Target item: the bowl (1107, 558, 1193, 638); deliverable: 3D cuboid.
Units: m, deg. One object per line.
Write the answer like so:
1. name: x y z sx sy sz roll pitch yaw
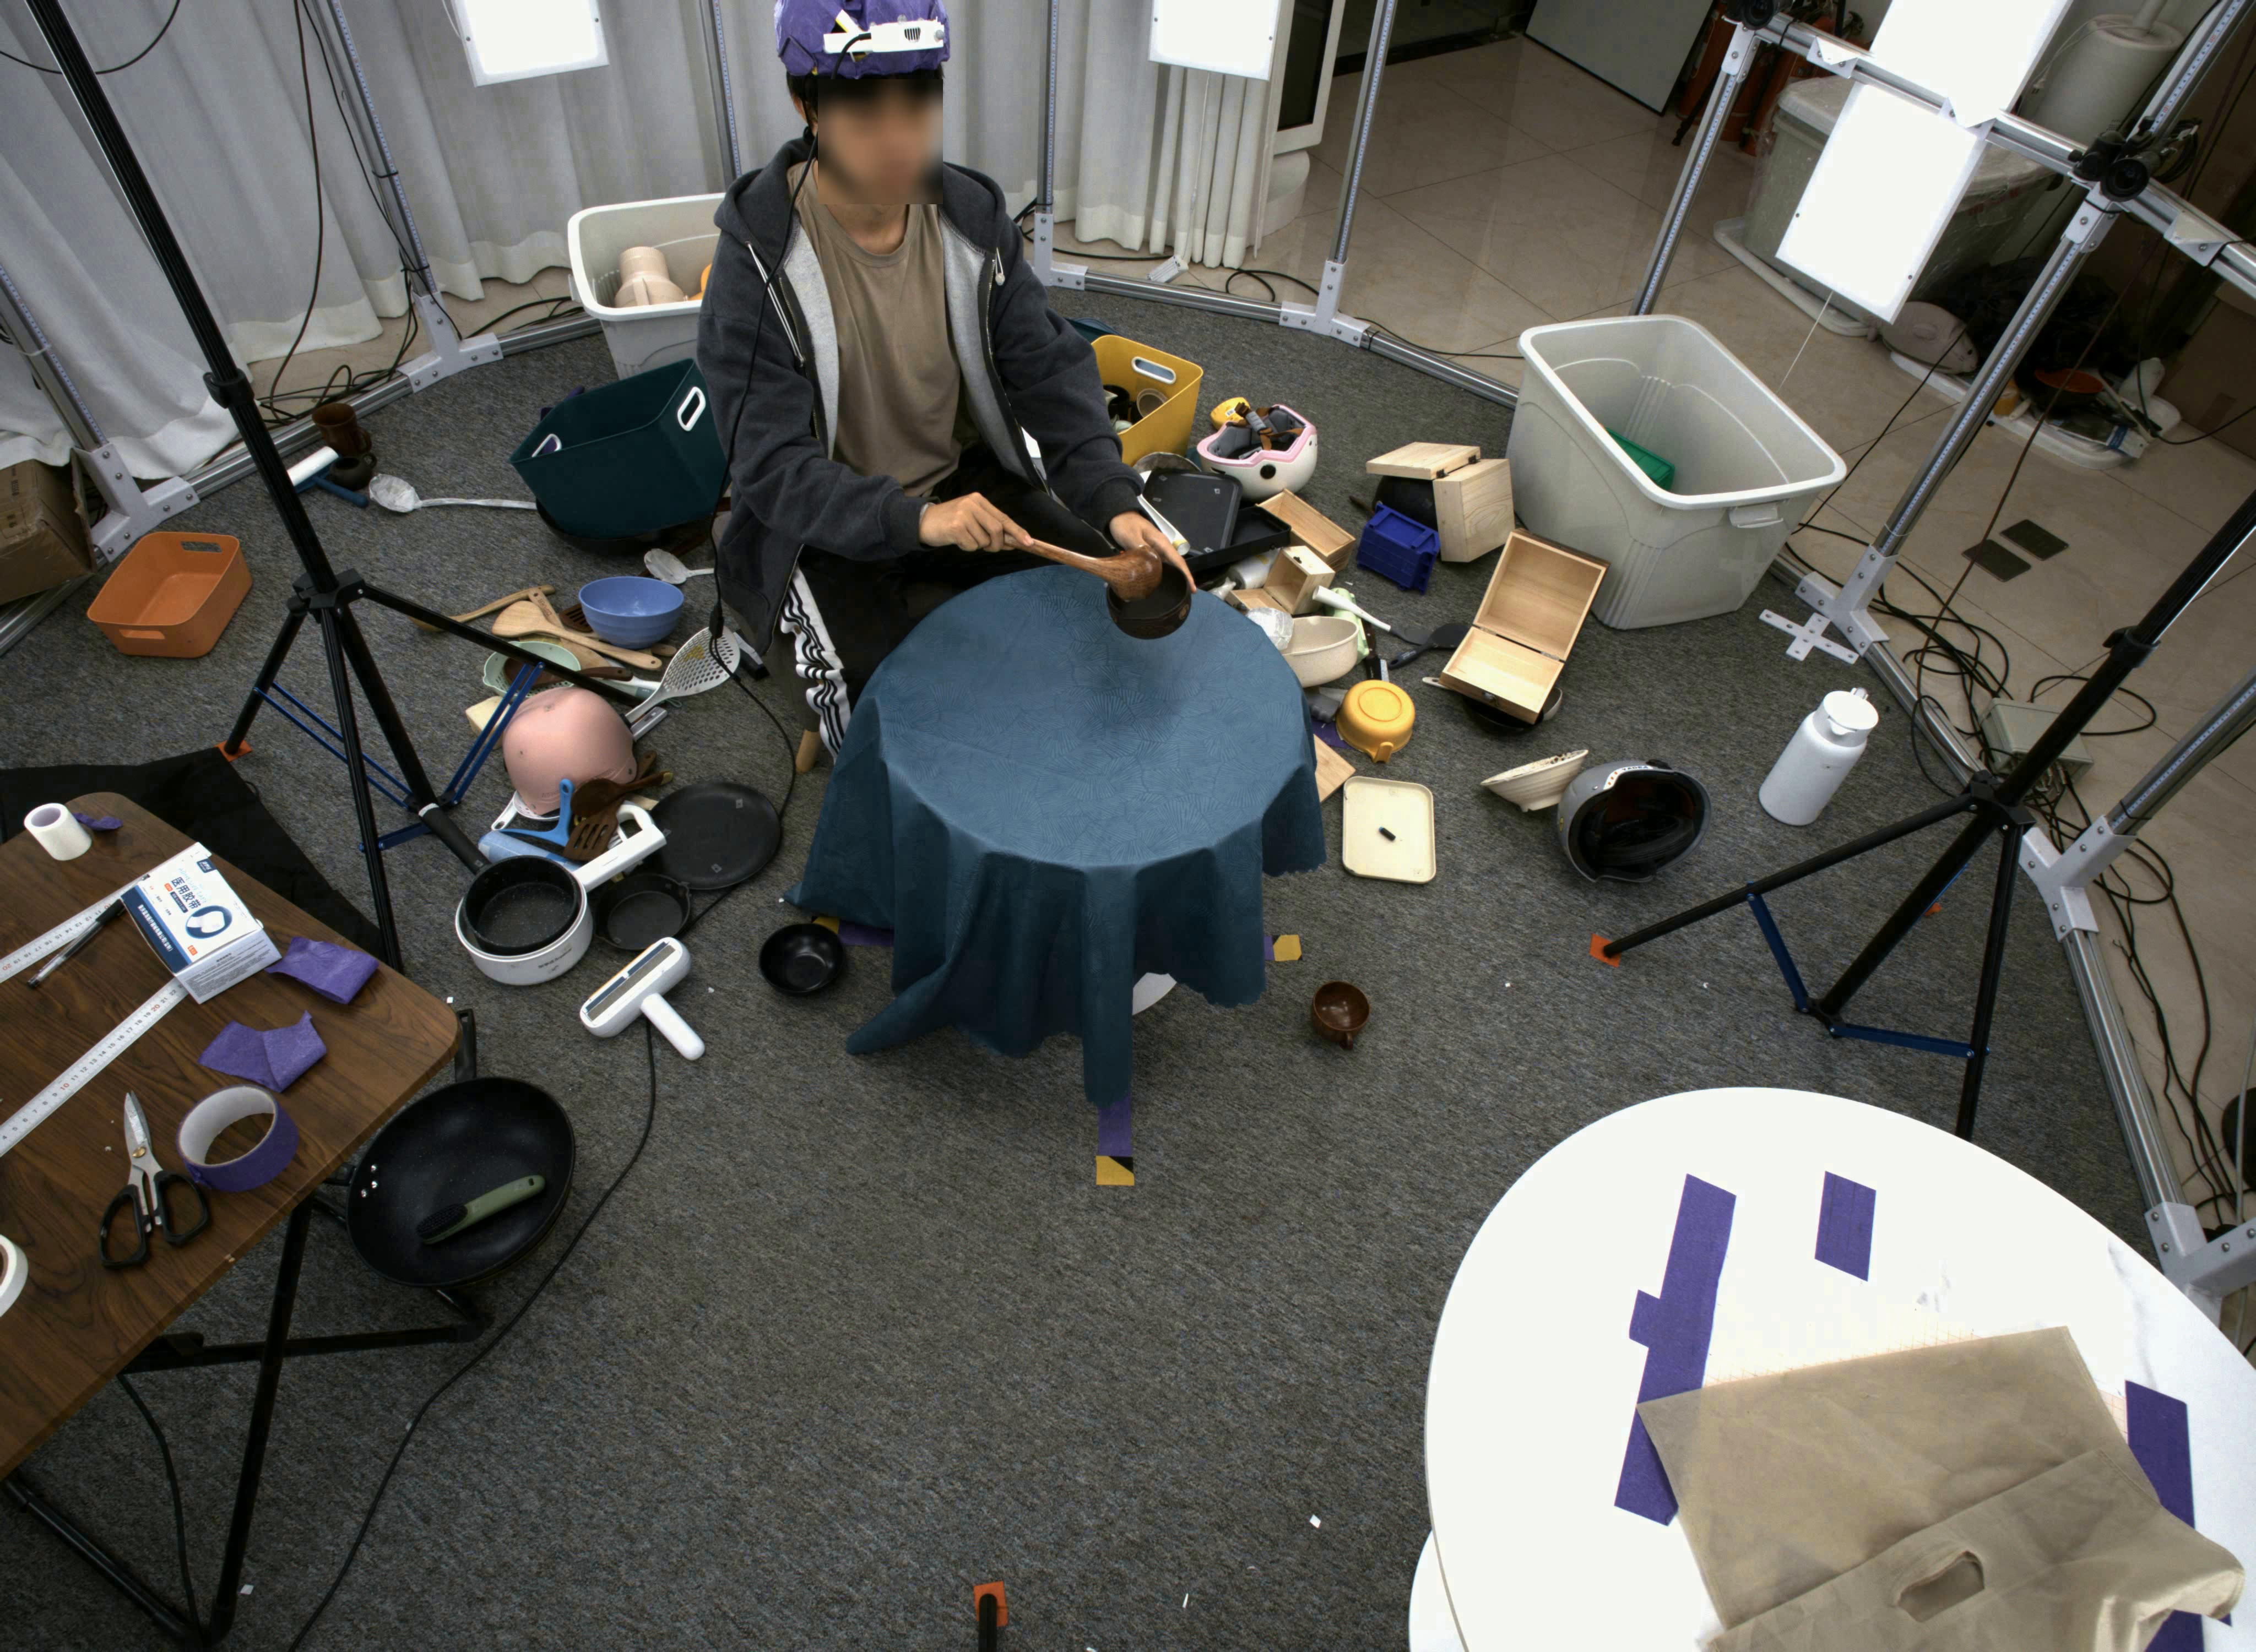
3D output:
1. bowl: 0.033 -0.309 1.792 0.118 0.068 0.121 -6 53 8

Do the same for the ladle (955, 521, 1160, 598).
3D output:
1. ladle: -0.091 -0.374 1.736 0.274 0.081 0.077 15 20 2
